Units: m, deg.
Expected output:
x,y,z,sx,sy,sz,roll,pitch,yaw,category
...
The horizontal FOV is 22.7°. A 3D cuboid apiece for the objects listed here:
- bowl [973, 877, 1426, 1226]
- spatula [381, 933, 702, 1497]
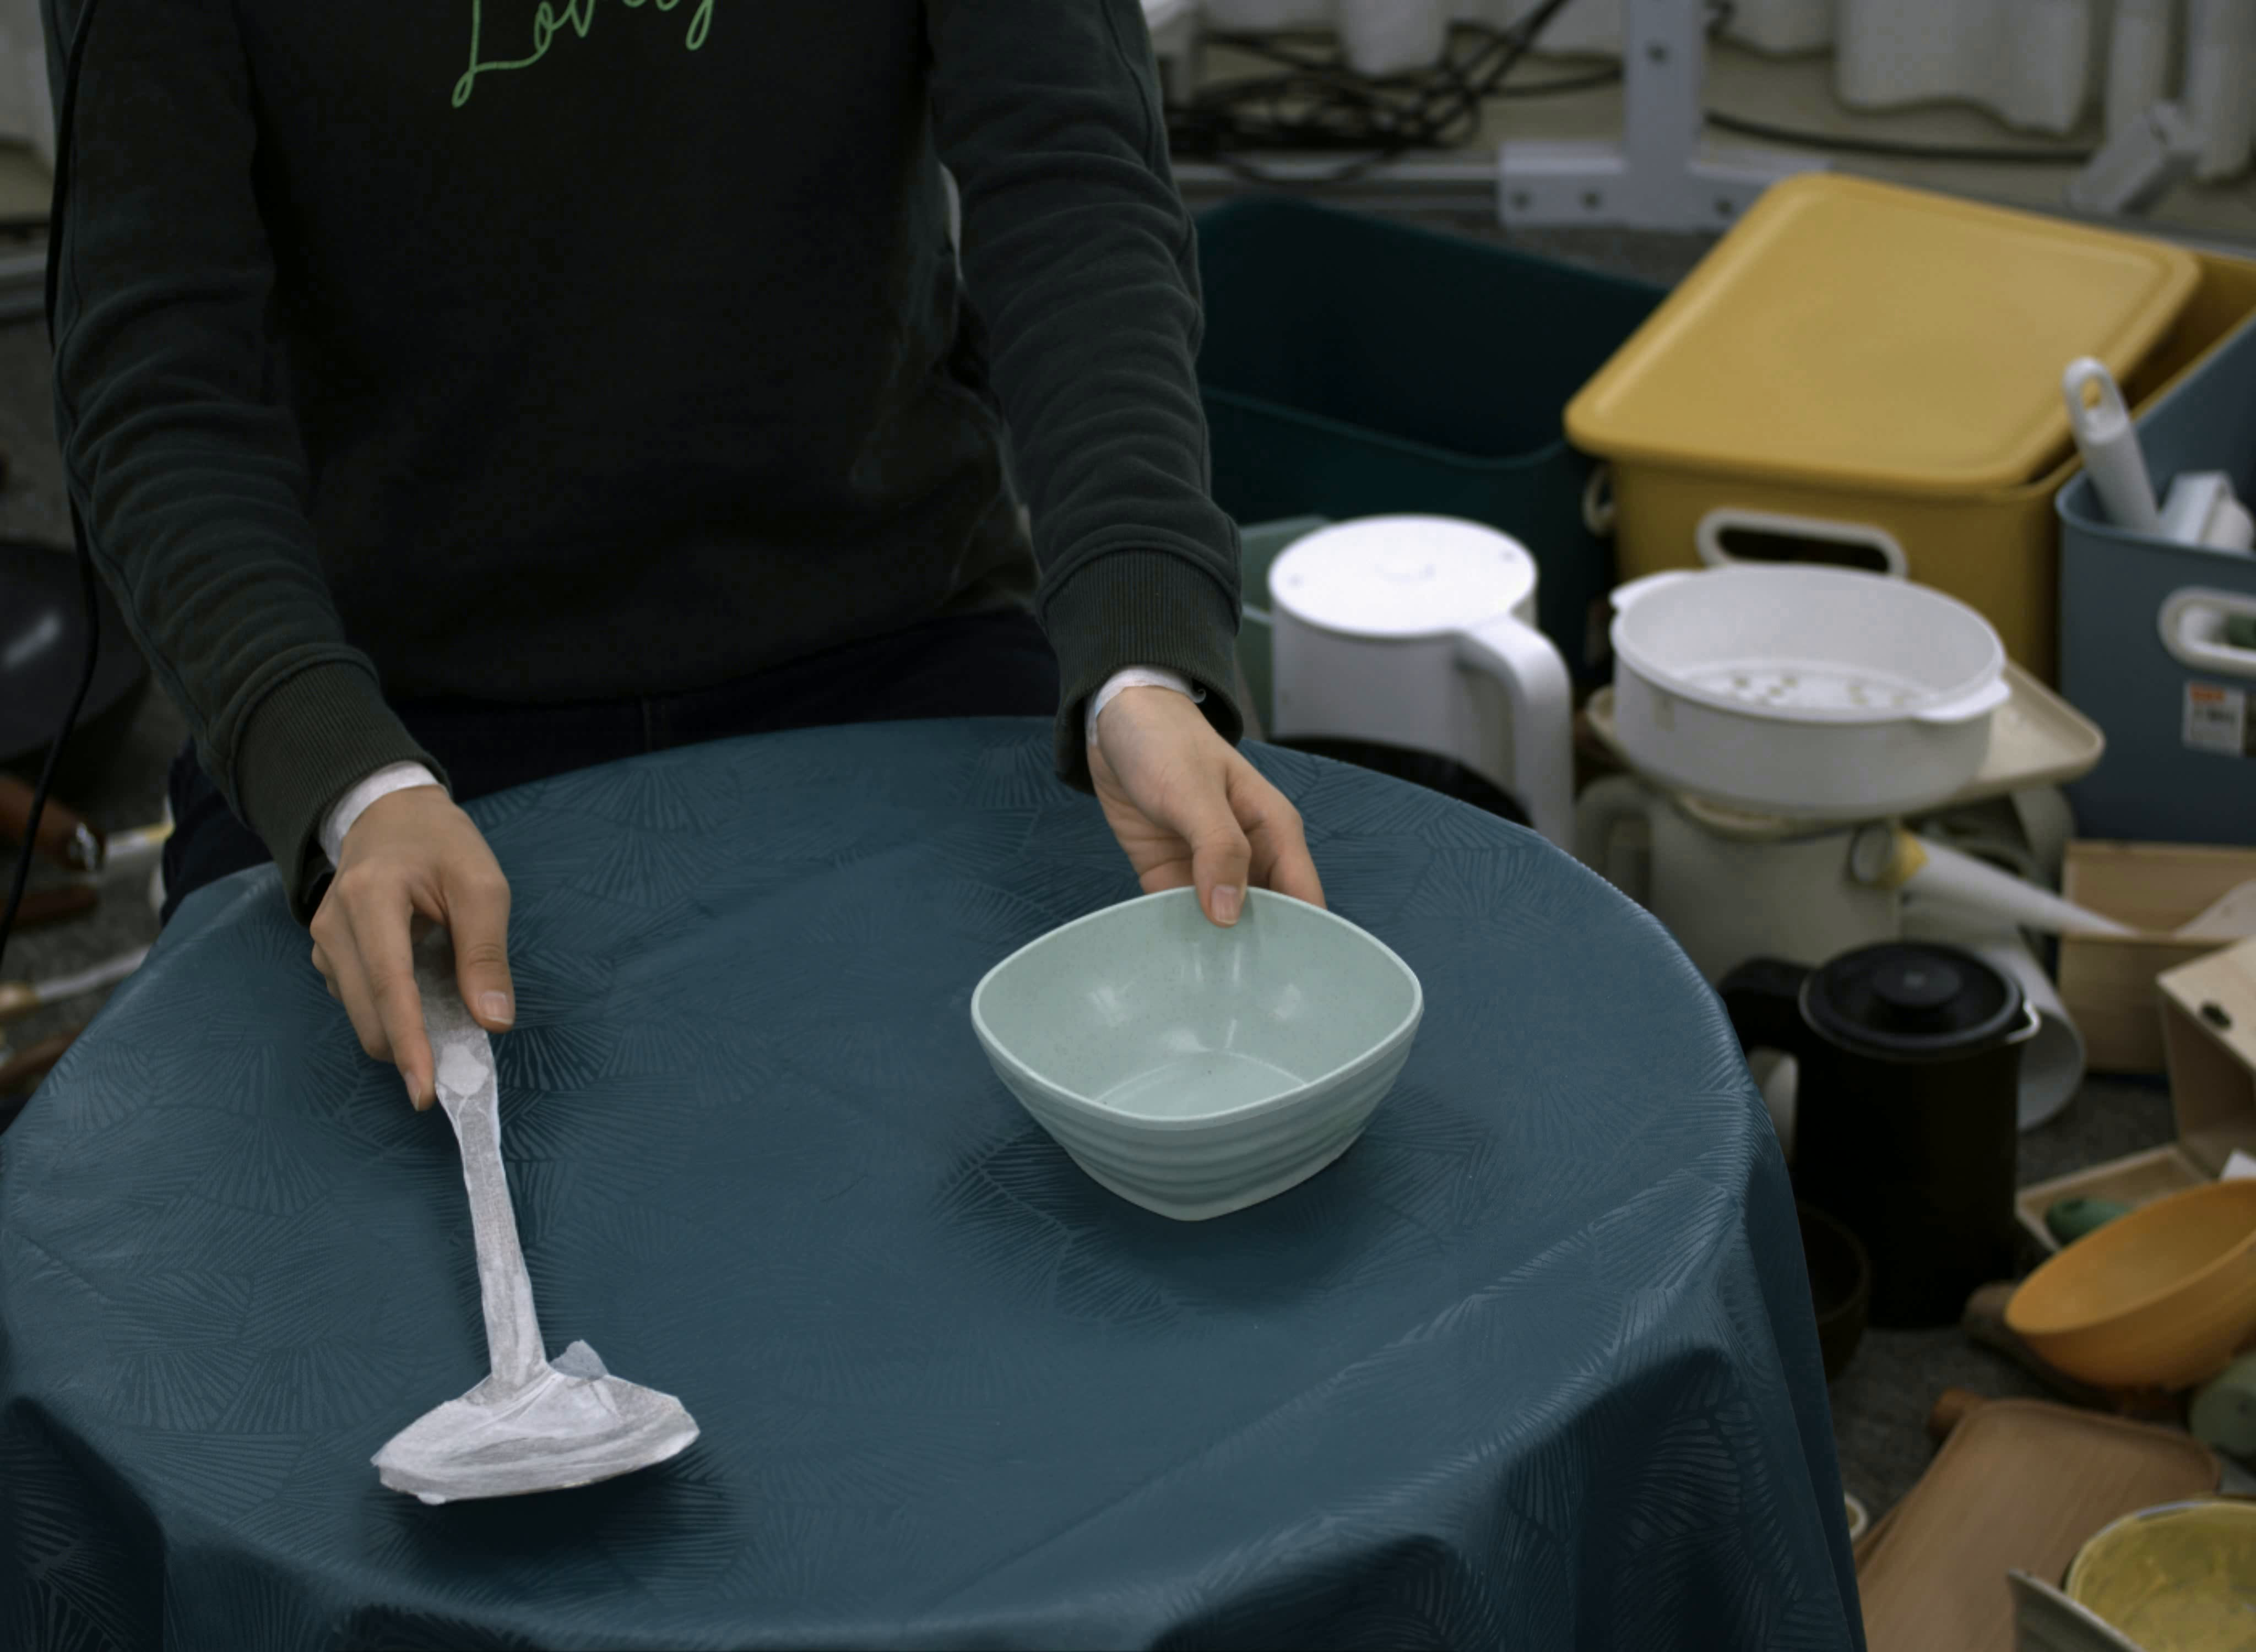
x,y,z,sx,sy,sz,roll,pitch,yaw,category
0.025,0.082,1.874,0.151,0.058,0.154,-2,31,2,bowl
-0.205,0.118,1.829,0.098,0.044,0.370,-9,33,-7,spatula
